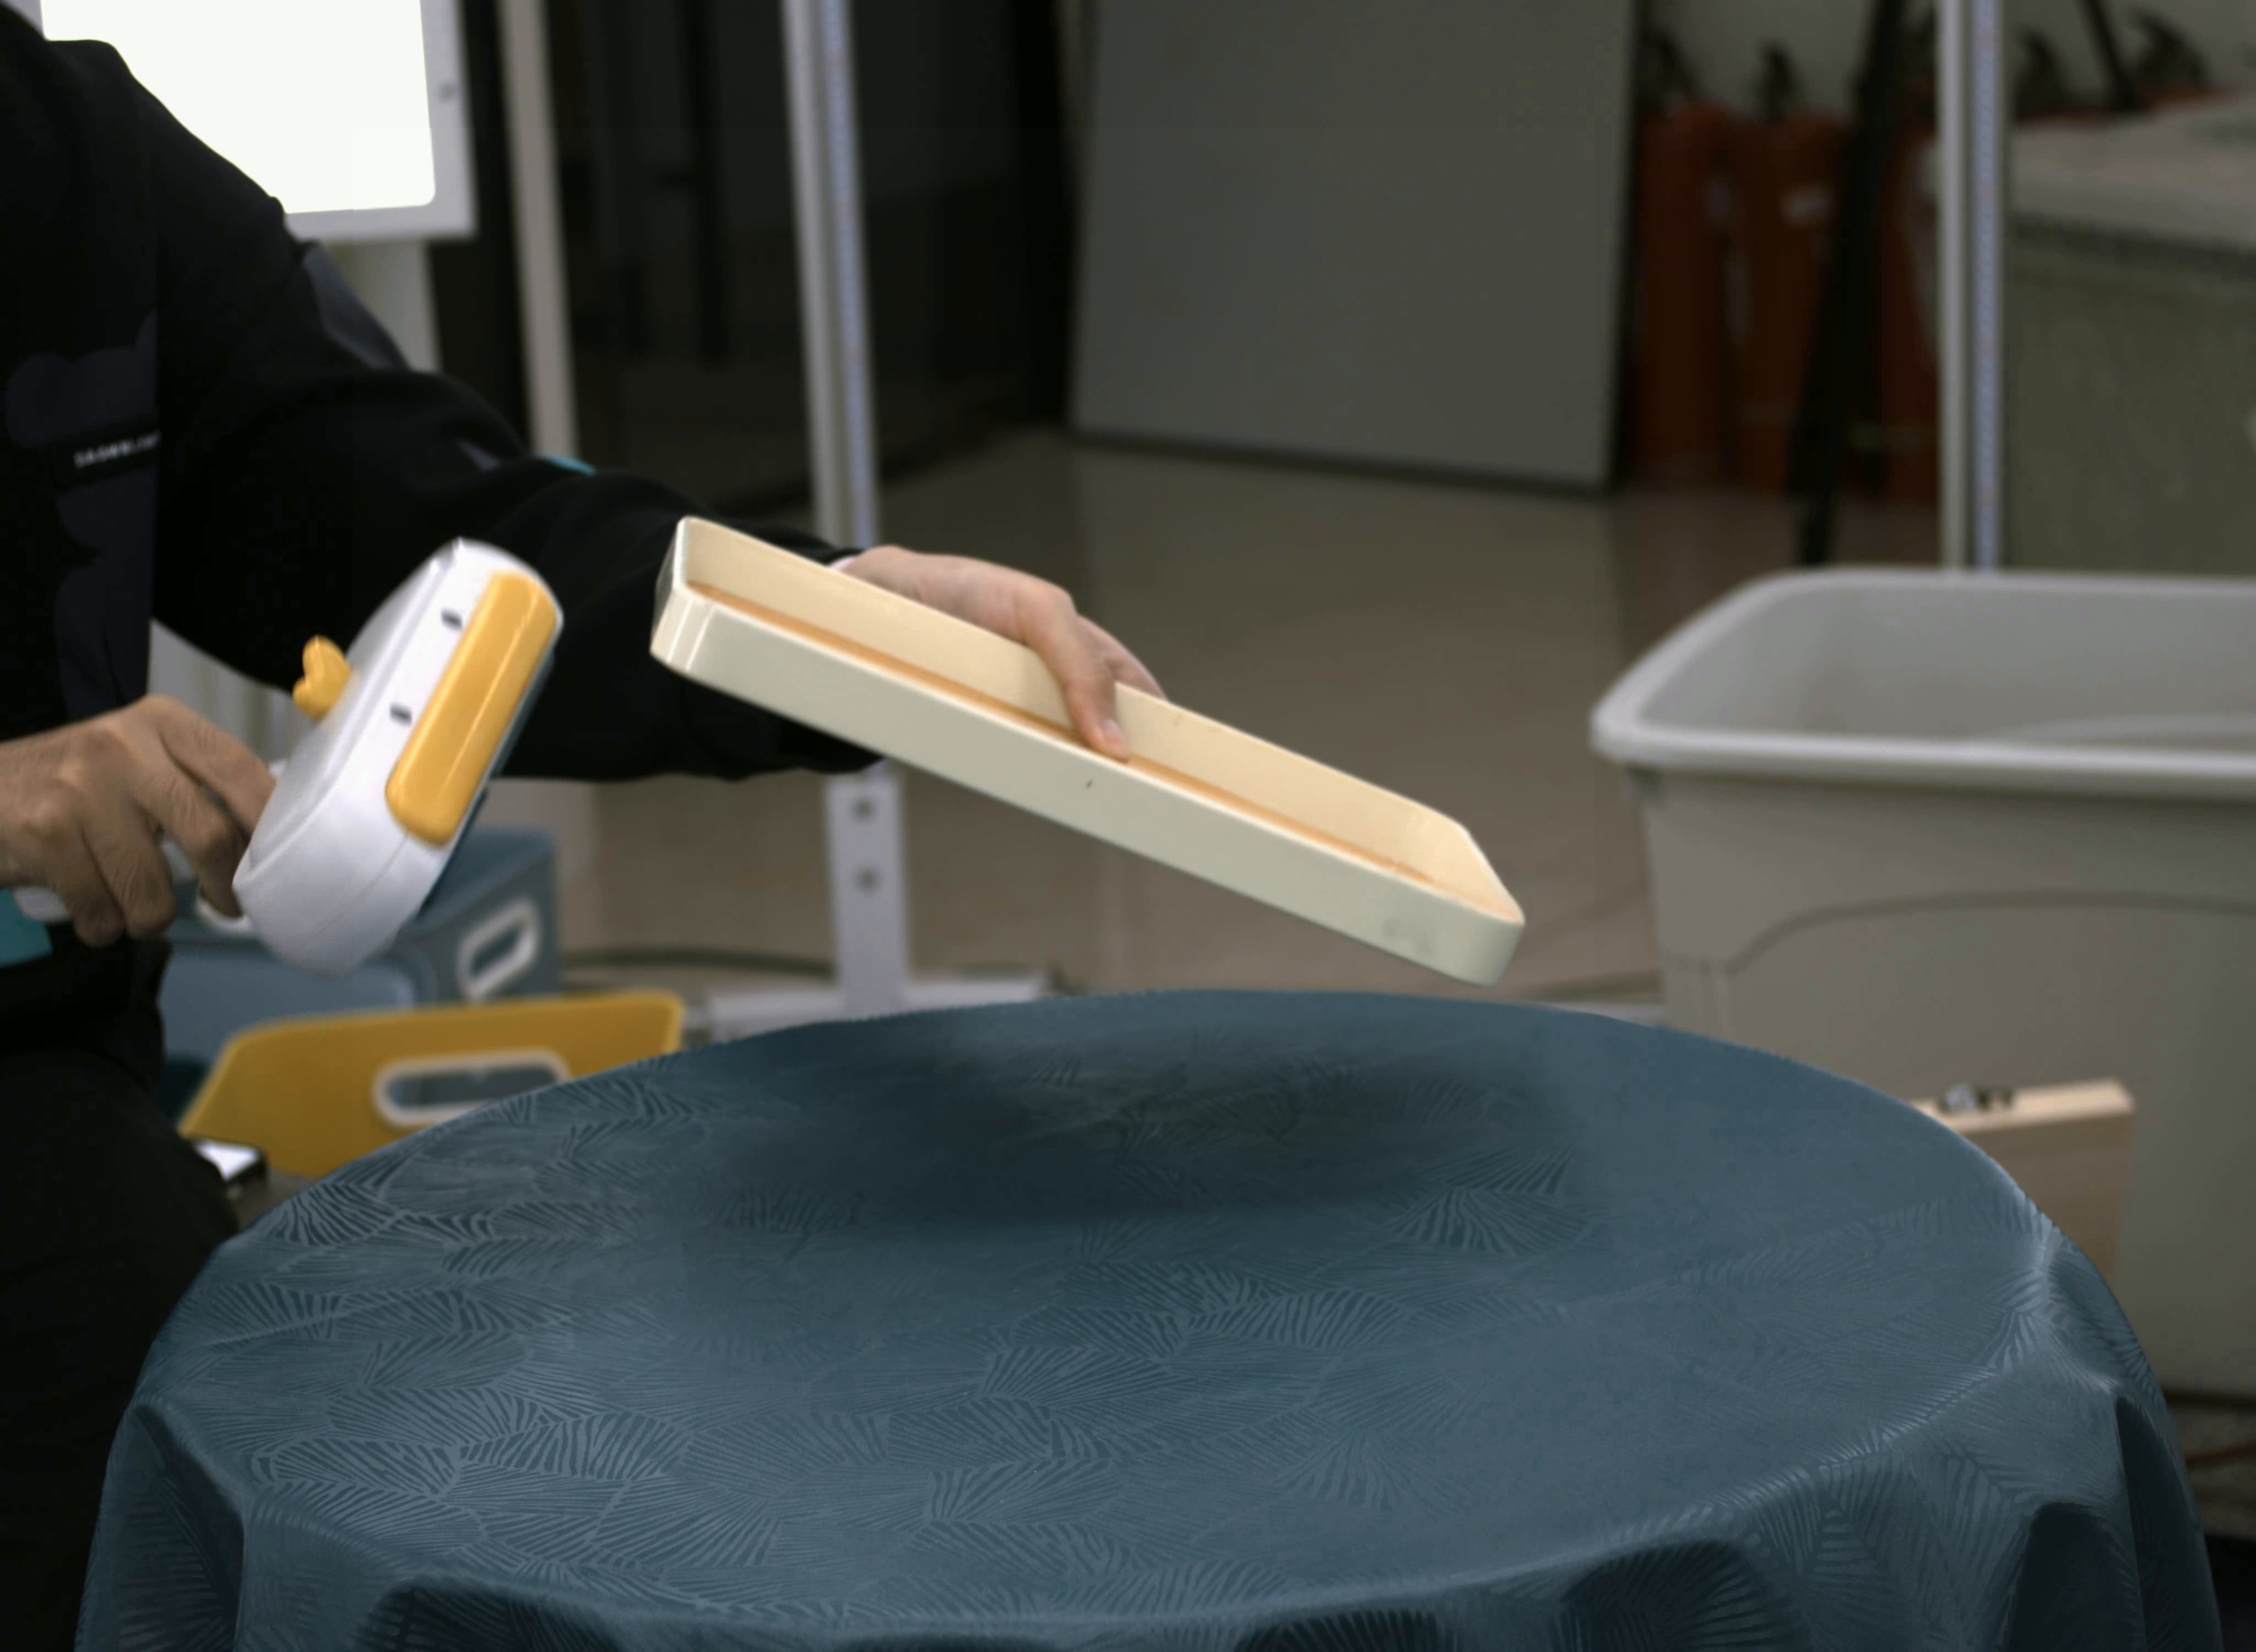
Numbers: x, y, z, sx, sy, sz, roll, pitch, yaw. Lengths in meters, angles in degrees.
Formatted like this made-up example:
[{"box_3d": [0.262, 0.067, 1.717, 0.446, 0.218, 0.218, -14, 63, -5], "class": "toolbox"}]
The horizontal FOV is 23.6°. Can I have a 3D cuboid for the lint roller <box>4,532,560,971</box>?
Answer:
[{"box_3d": [-0.281, -0.003, 1.770, 0.193, 0.073, 0.193, -31, 26, 25], "class": "lint roller"}]

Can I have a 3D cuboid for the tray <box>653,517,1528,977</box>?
[{"box_3d": [-0.016, -0.028, 1.807, 0.296, 0.027, 0.192, 22, 7, -6], "class": "tray"}]
